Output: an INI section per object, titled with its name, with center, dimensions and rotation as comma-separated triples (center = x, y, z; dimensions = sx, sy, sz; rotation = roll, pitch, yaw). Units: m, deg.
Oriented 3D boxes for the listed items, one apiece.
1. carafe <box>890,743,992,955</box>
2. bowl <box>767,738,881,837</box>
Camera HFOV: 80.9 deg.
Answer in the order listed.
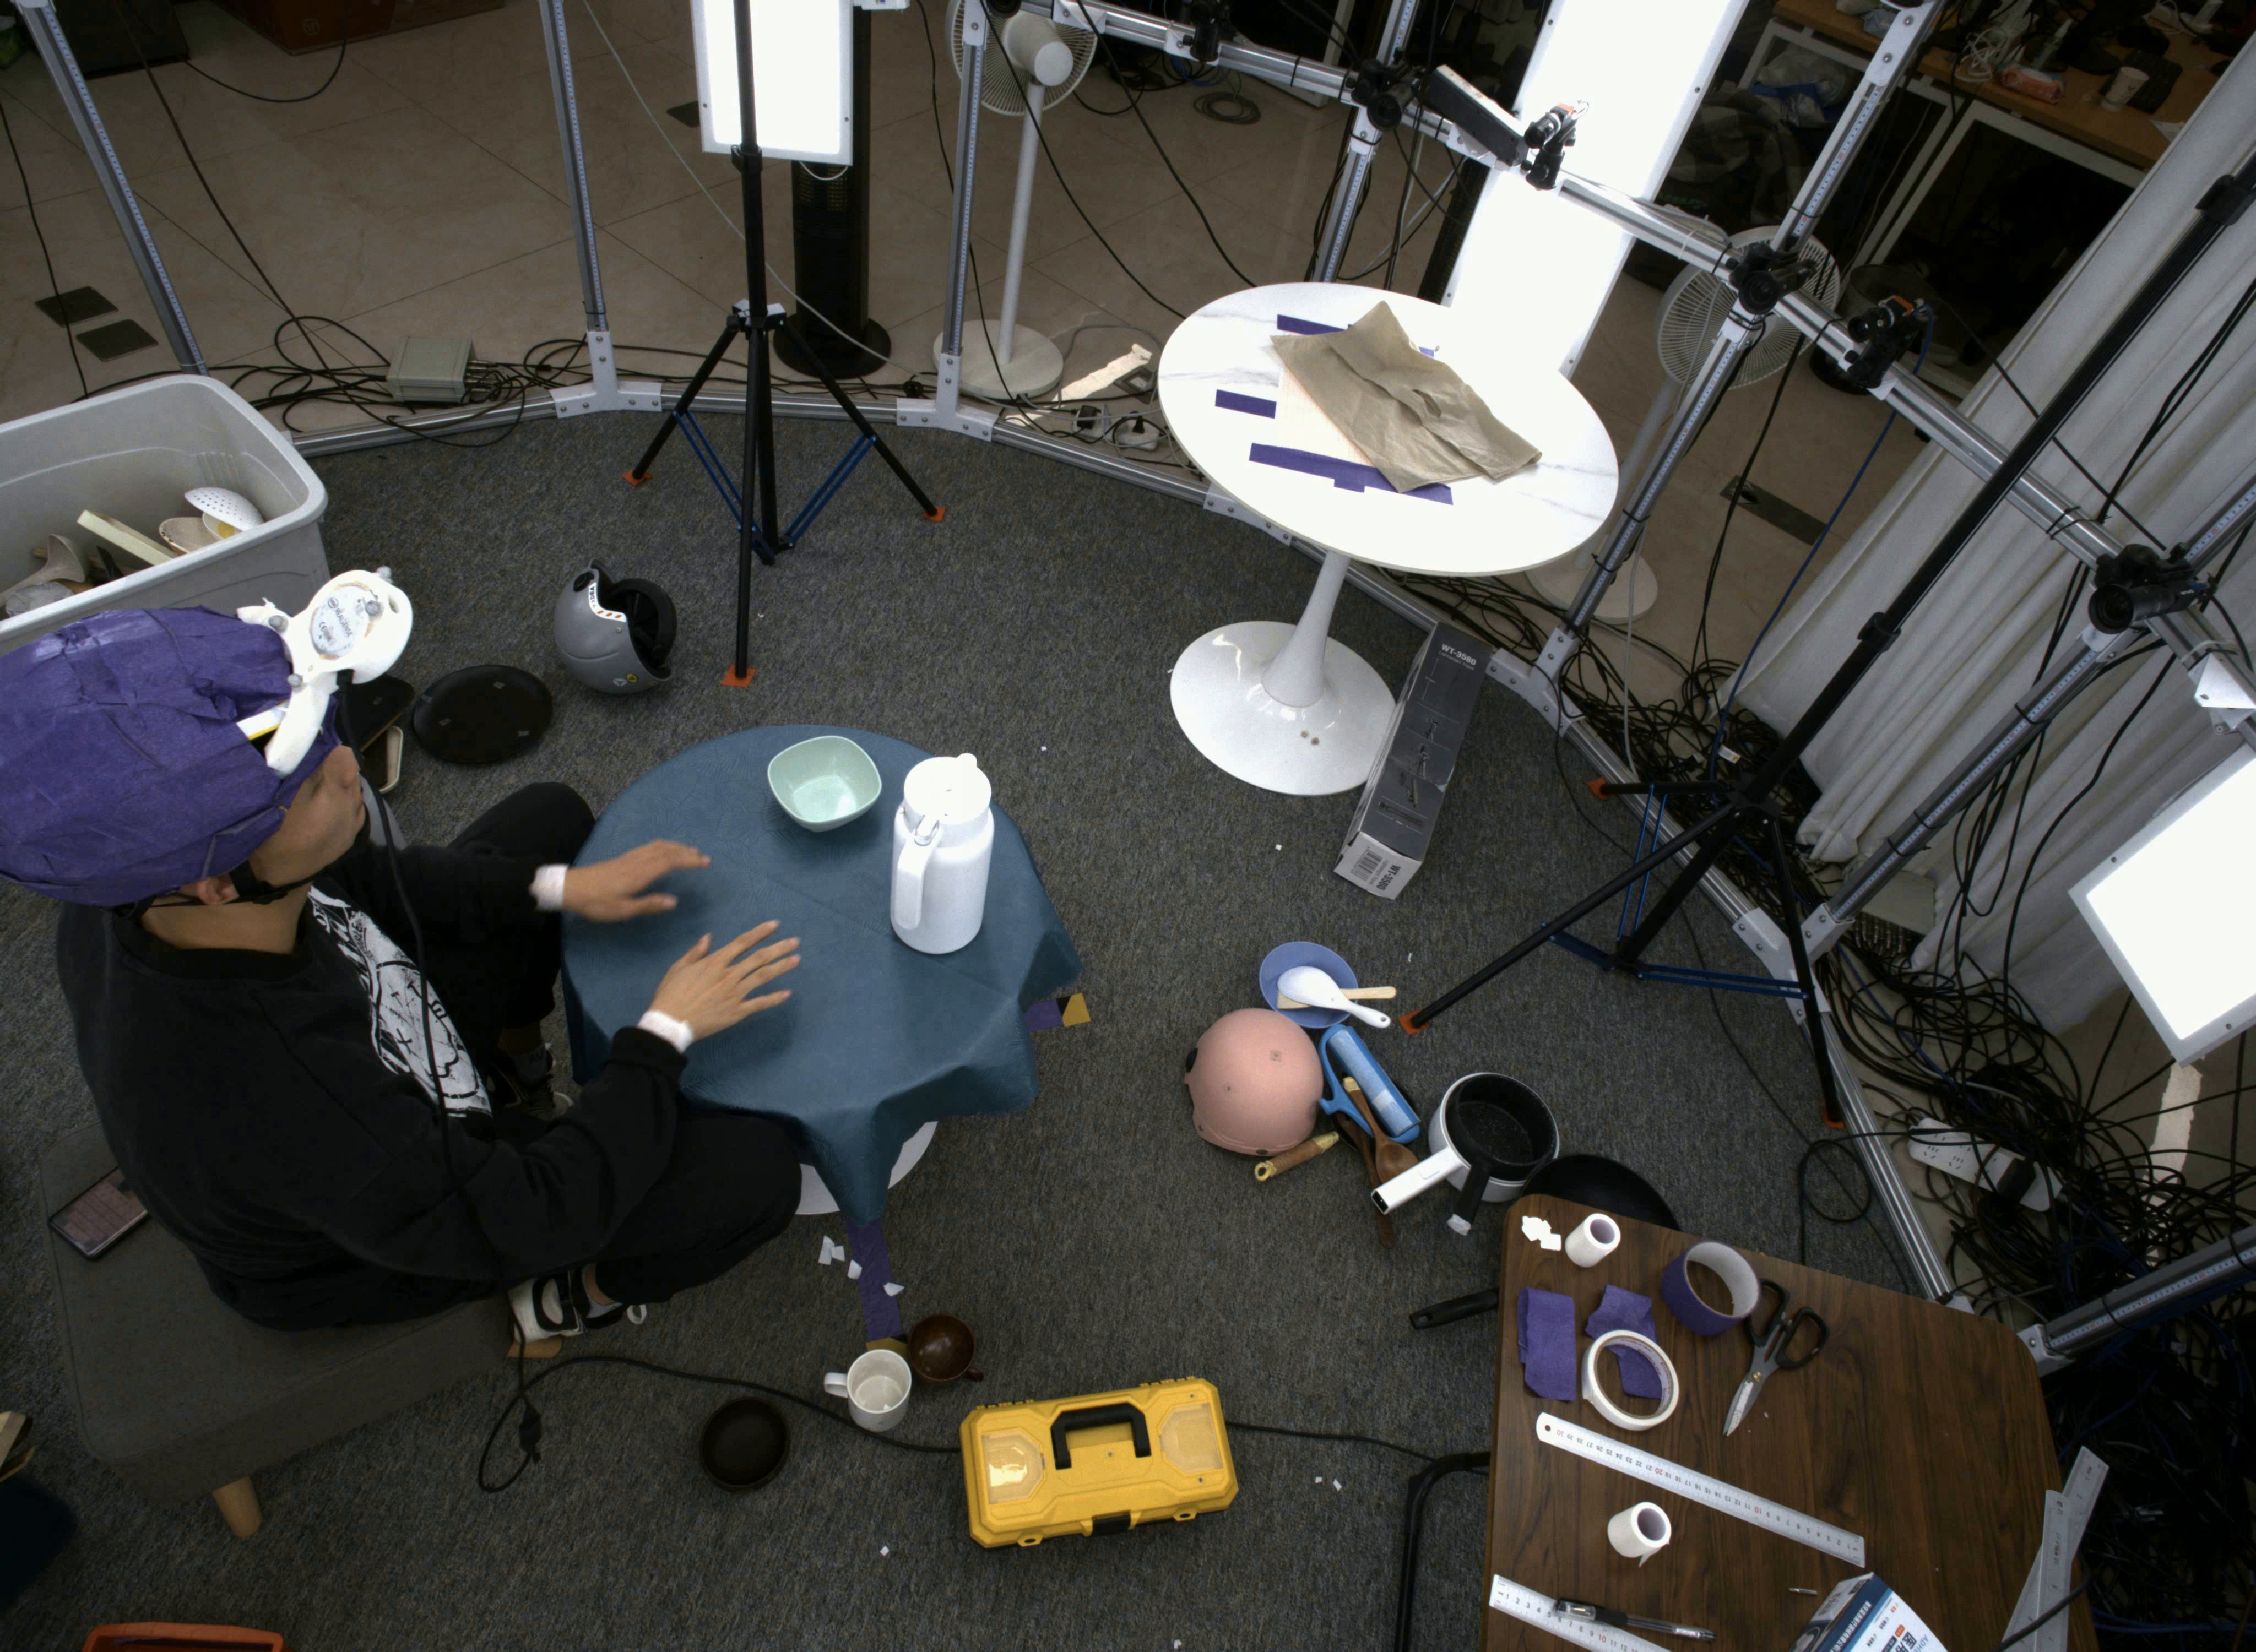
[carafe]
center = -0.231, 0.047, 1.564
dimensions = 0.122, 0.274, 0.171
rotation = 20, 51, 2
[bowl]
center = -0.404, -0.043, 1.728
dimensions = 0.151, 0.060, 0.149
rotation = 7, 55, -8
